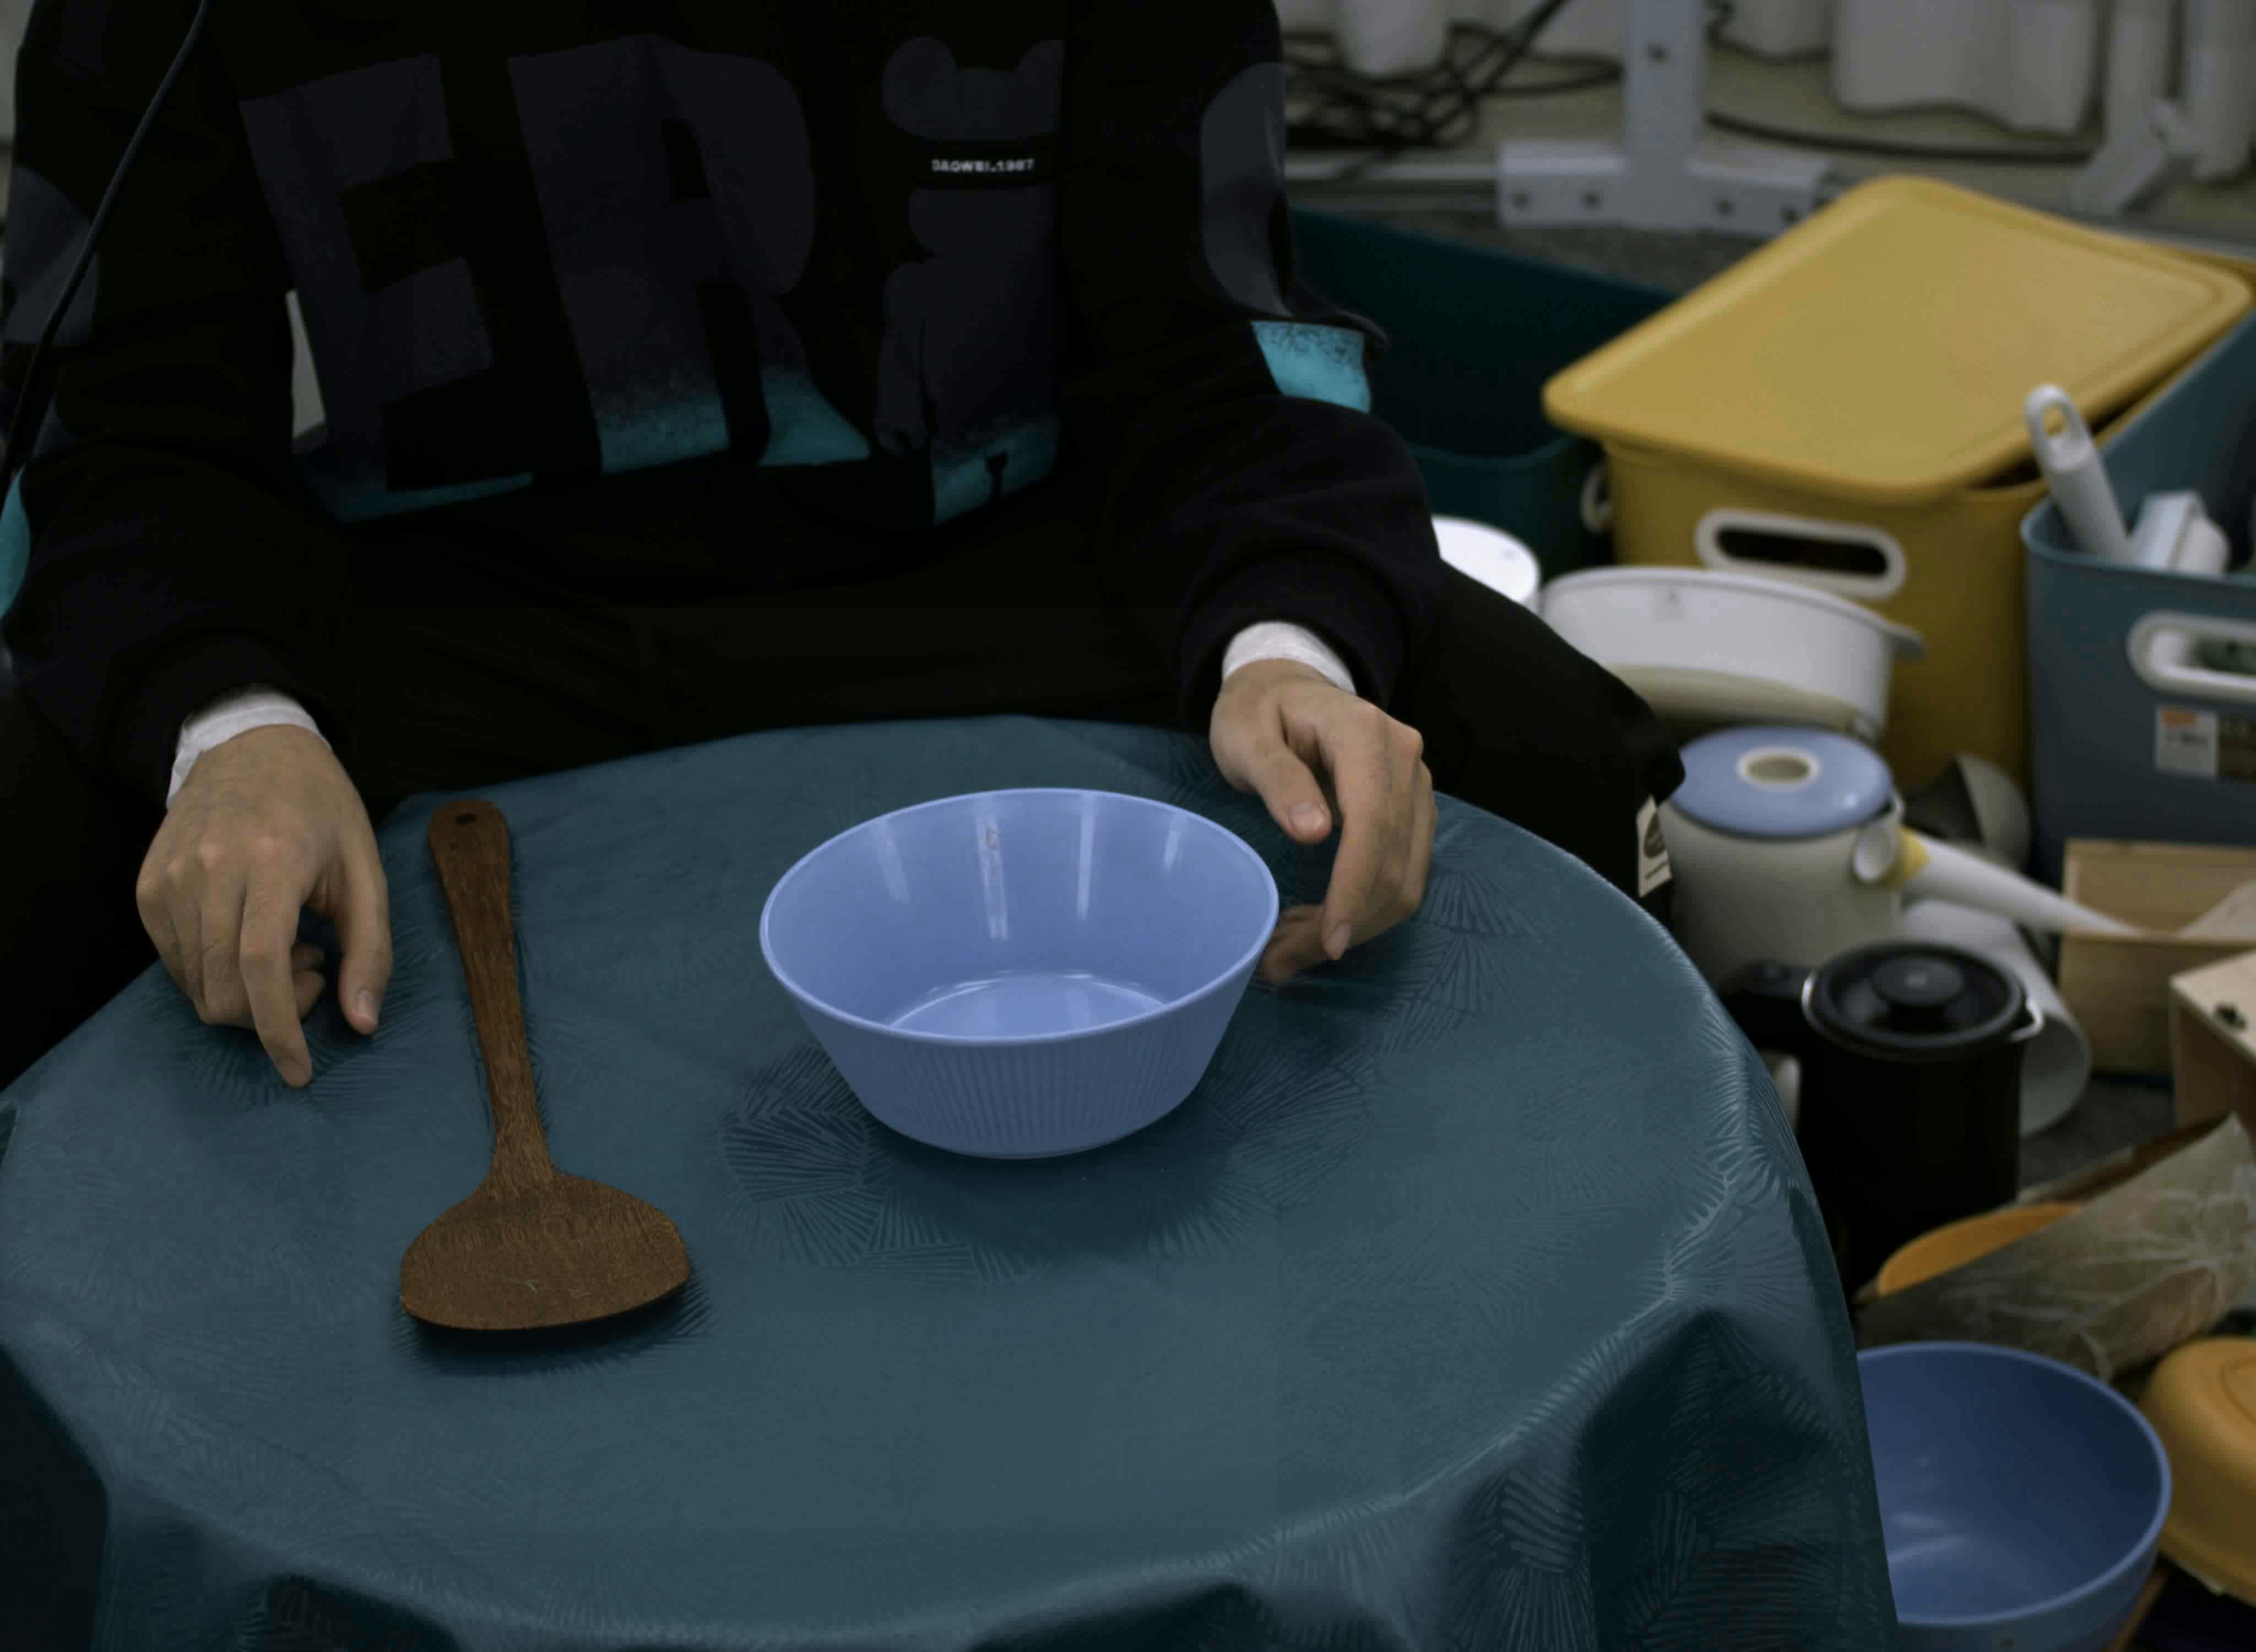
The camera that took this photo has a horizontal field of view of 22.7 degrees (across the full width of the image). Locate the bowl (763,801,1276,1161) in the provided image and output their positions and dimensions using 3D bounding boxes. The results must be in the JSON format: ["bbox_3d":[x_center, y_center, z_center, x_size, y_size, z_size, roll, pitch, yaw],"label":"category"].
[{"bbox_3d":[-0.035,0.058,1.913,0.175,0.069,0.178,-2,26,1],"label":"bowl"}]

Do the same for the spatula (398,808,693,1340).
[{"bbox_3d":[-0.217,0.078,1.953,0.096,0.015,0.390,-7,27,-8],"label":"spatula"}]
